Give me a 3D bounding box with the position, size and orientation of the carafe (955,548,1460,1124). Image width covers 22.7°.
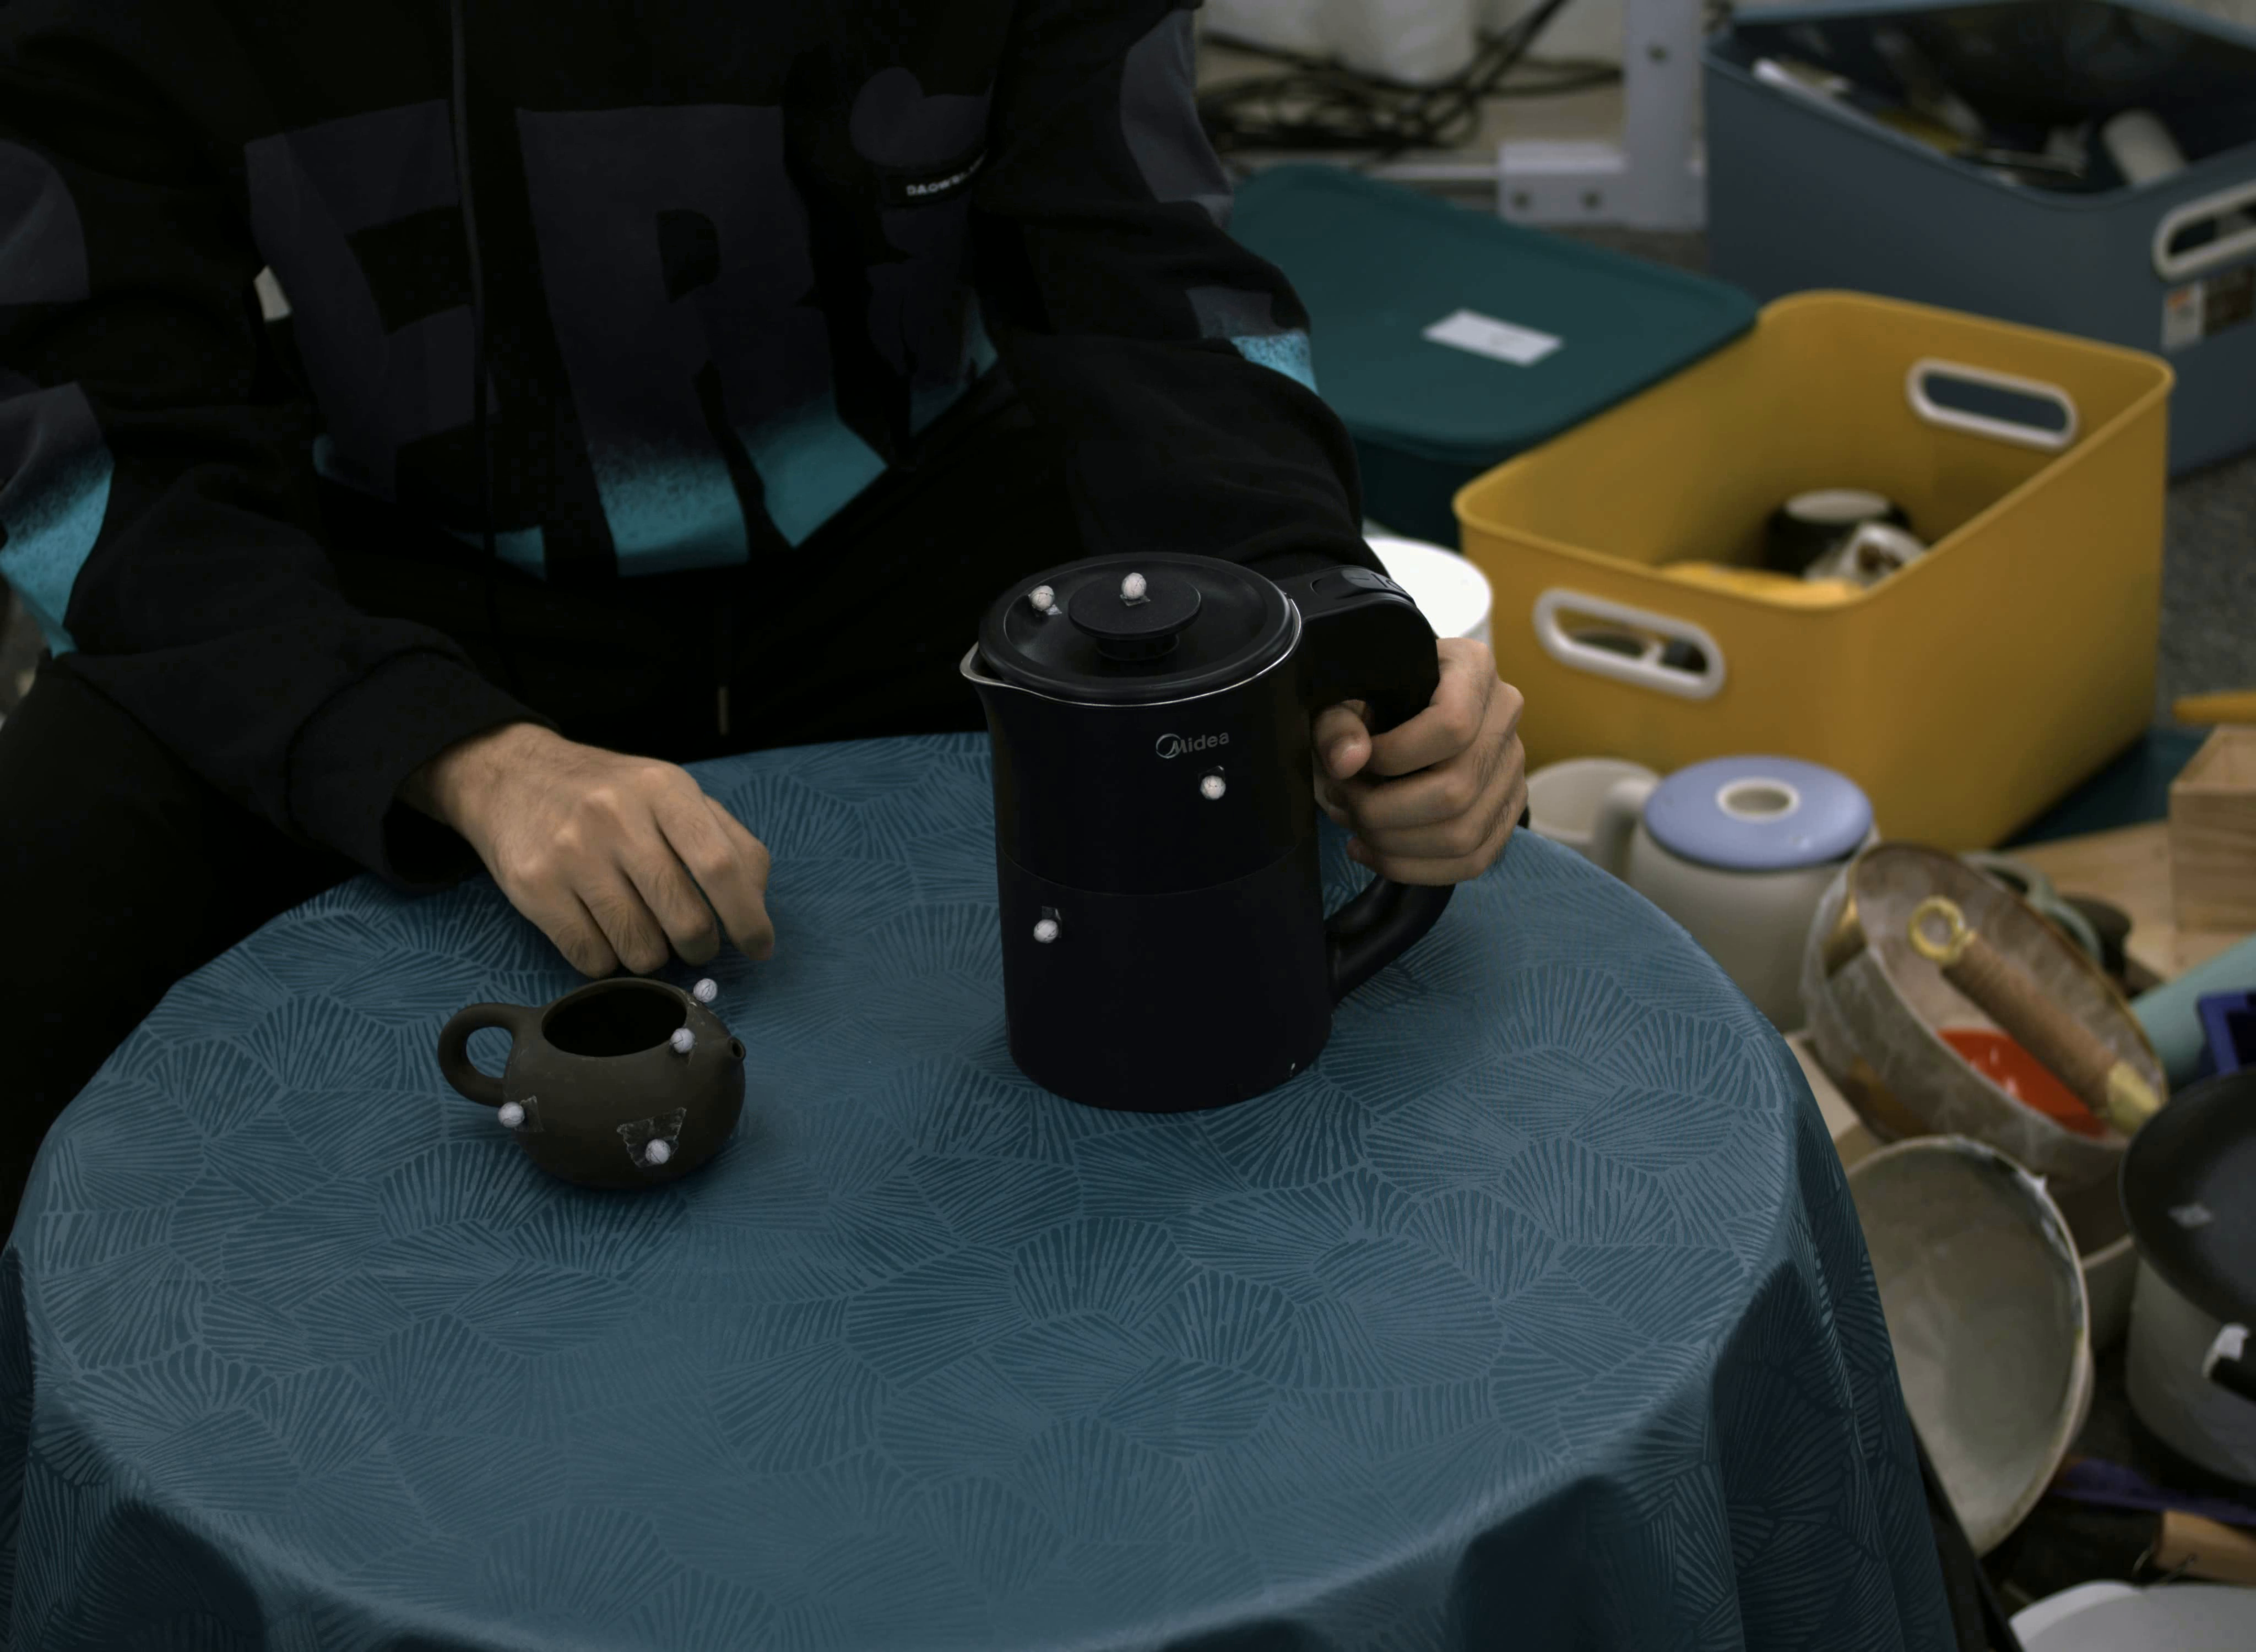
[{"bbox_3d":[0.029,-0.008,1.924,0.172,0.171,0.115,-16,27,-18],"label":"carafe"}]

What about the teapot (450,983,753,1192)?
[{"bbox_3d":[-0.178,0.085,1.894,0.113,0.052,0.084,12,30,21],"label":"teapot"}]
